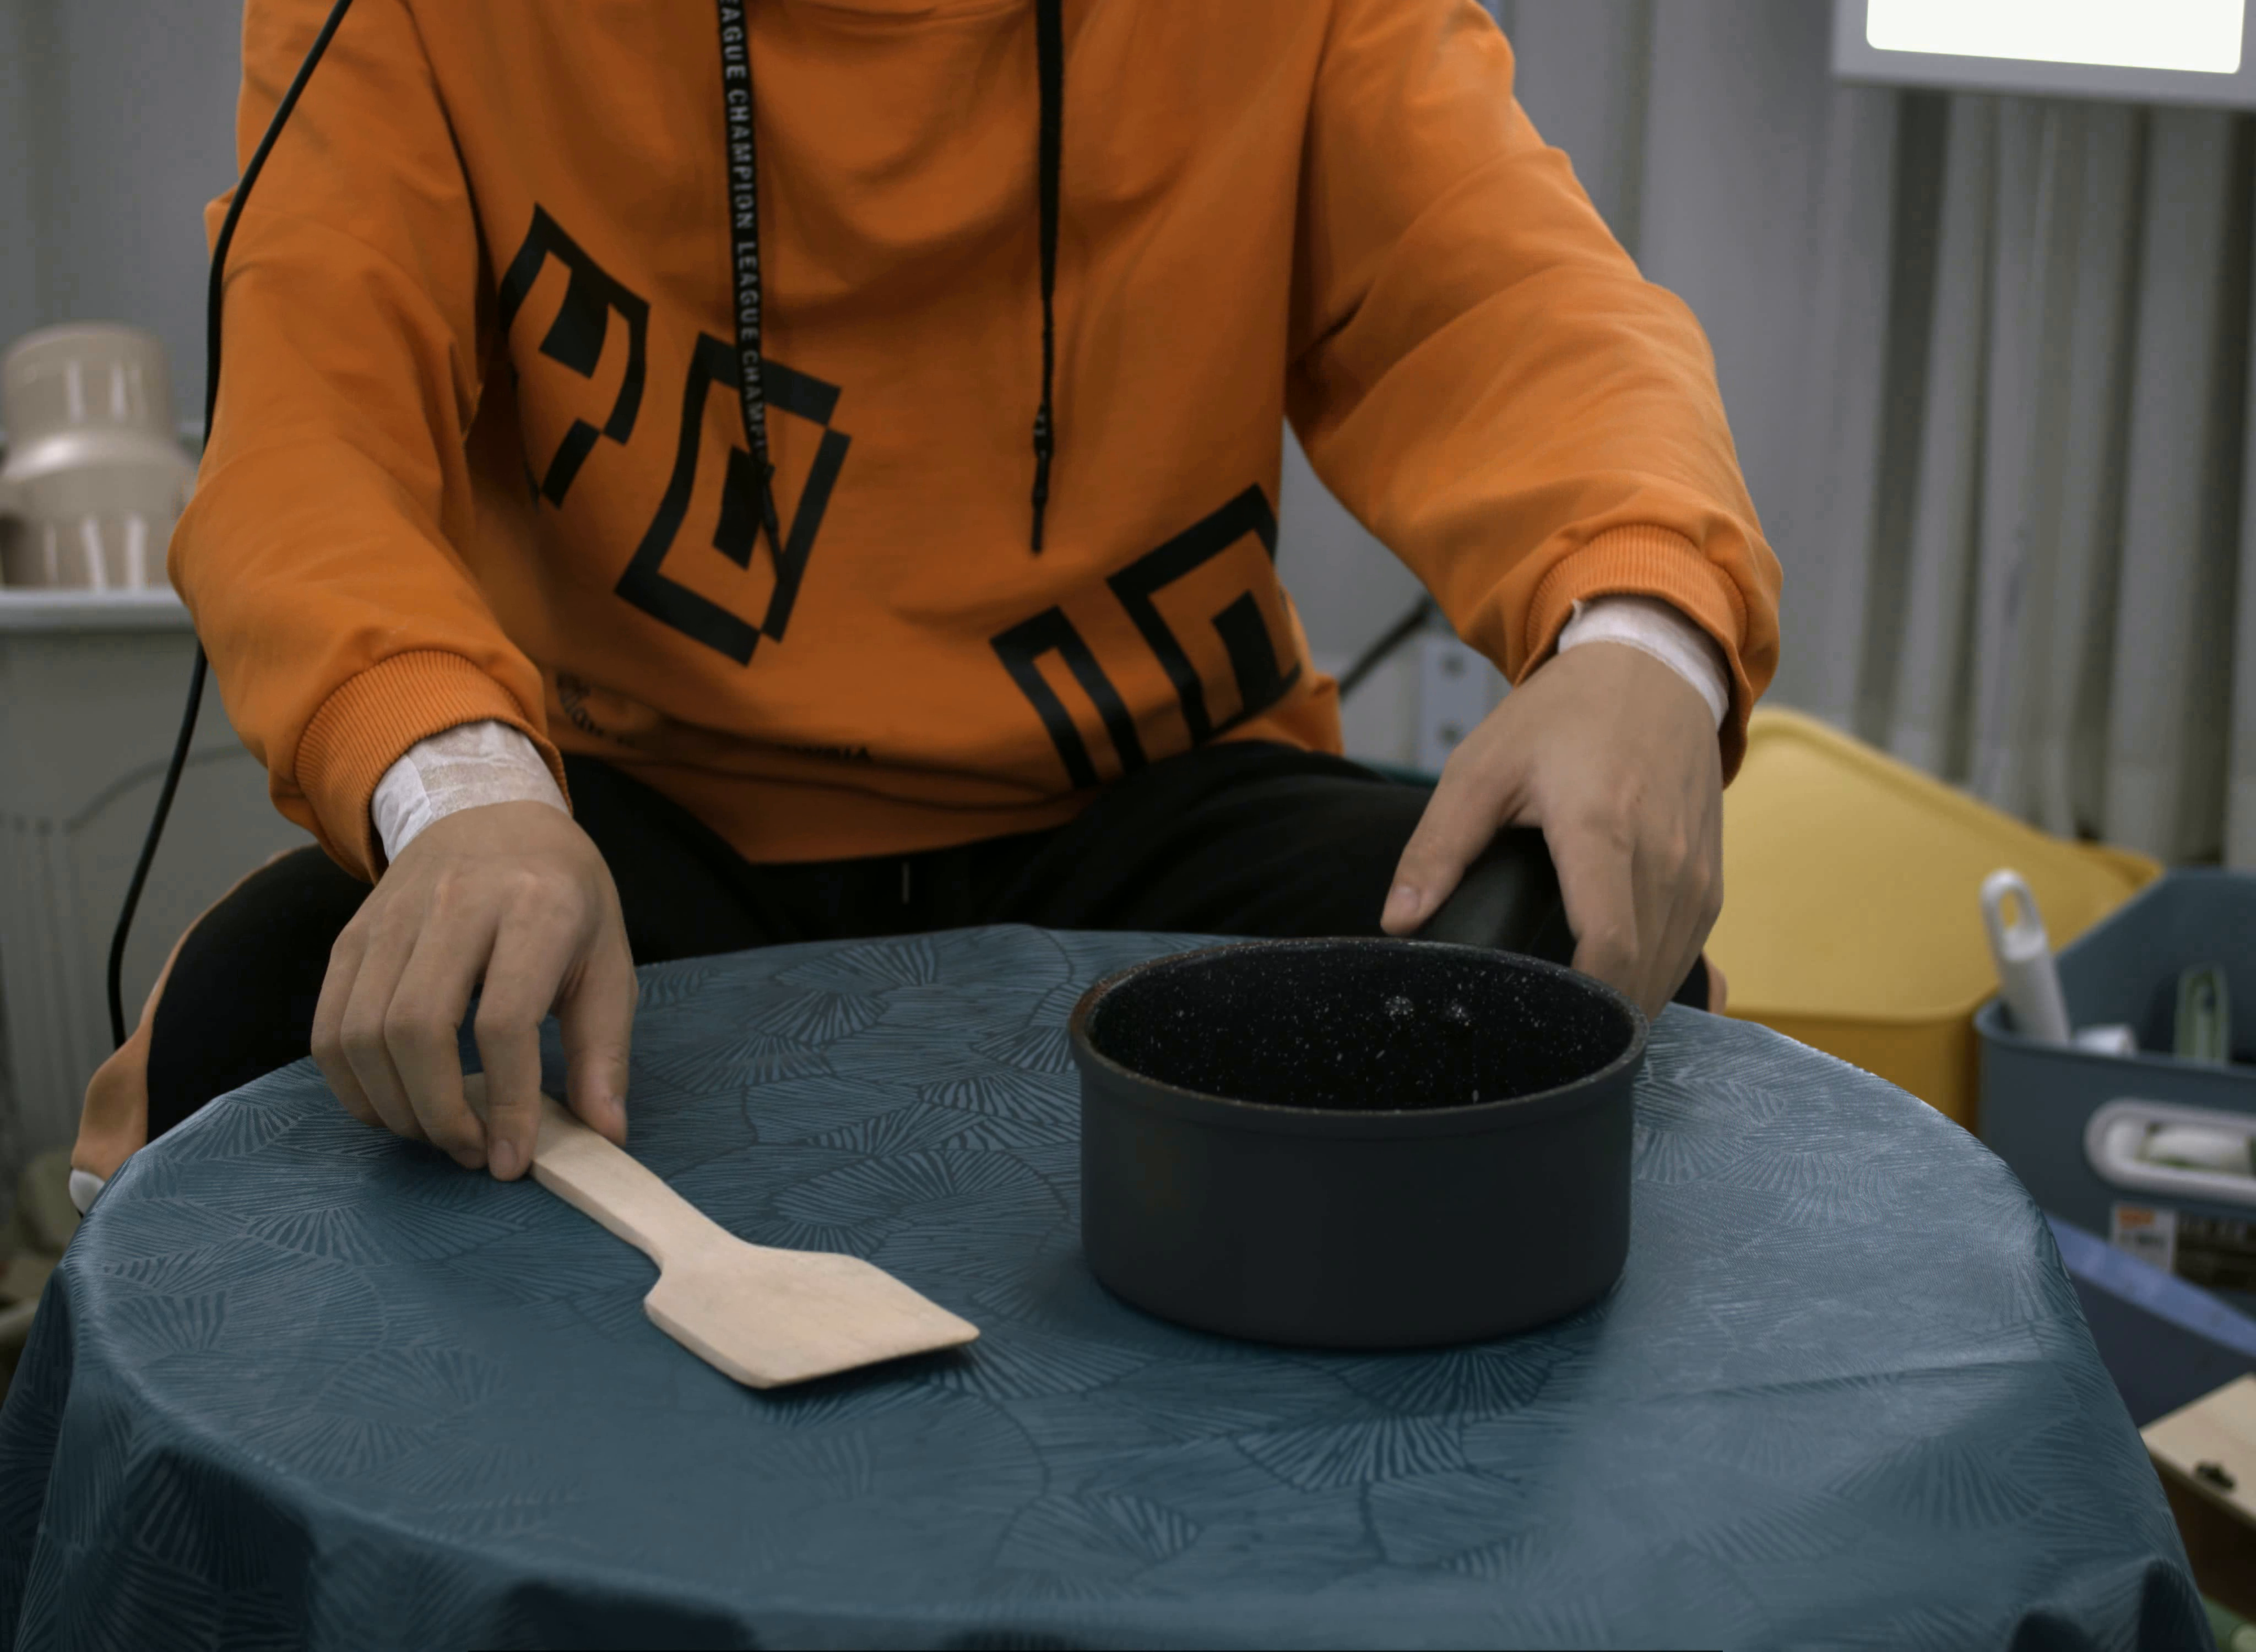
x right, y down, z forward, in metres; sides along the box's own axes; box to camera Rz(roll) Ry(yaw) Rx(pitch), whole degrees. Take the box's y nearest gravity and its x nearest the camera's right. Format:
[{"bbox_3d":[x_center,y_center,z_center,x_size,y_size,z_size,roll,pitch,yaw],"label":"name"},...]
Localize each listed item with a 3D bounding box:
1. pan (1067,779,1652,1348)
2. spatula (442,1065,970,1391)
[{"bbox_3d":[0.096,0.069,1.624,0.170,0.087,0.329,7,19,20],"label":"pan"},{"bbox_3d":[-0.143,0.117,1.585,0.072,0.011,0.289,-12,20,-27],"label":"spatula"}]
